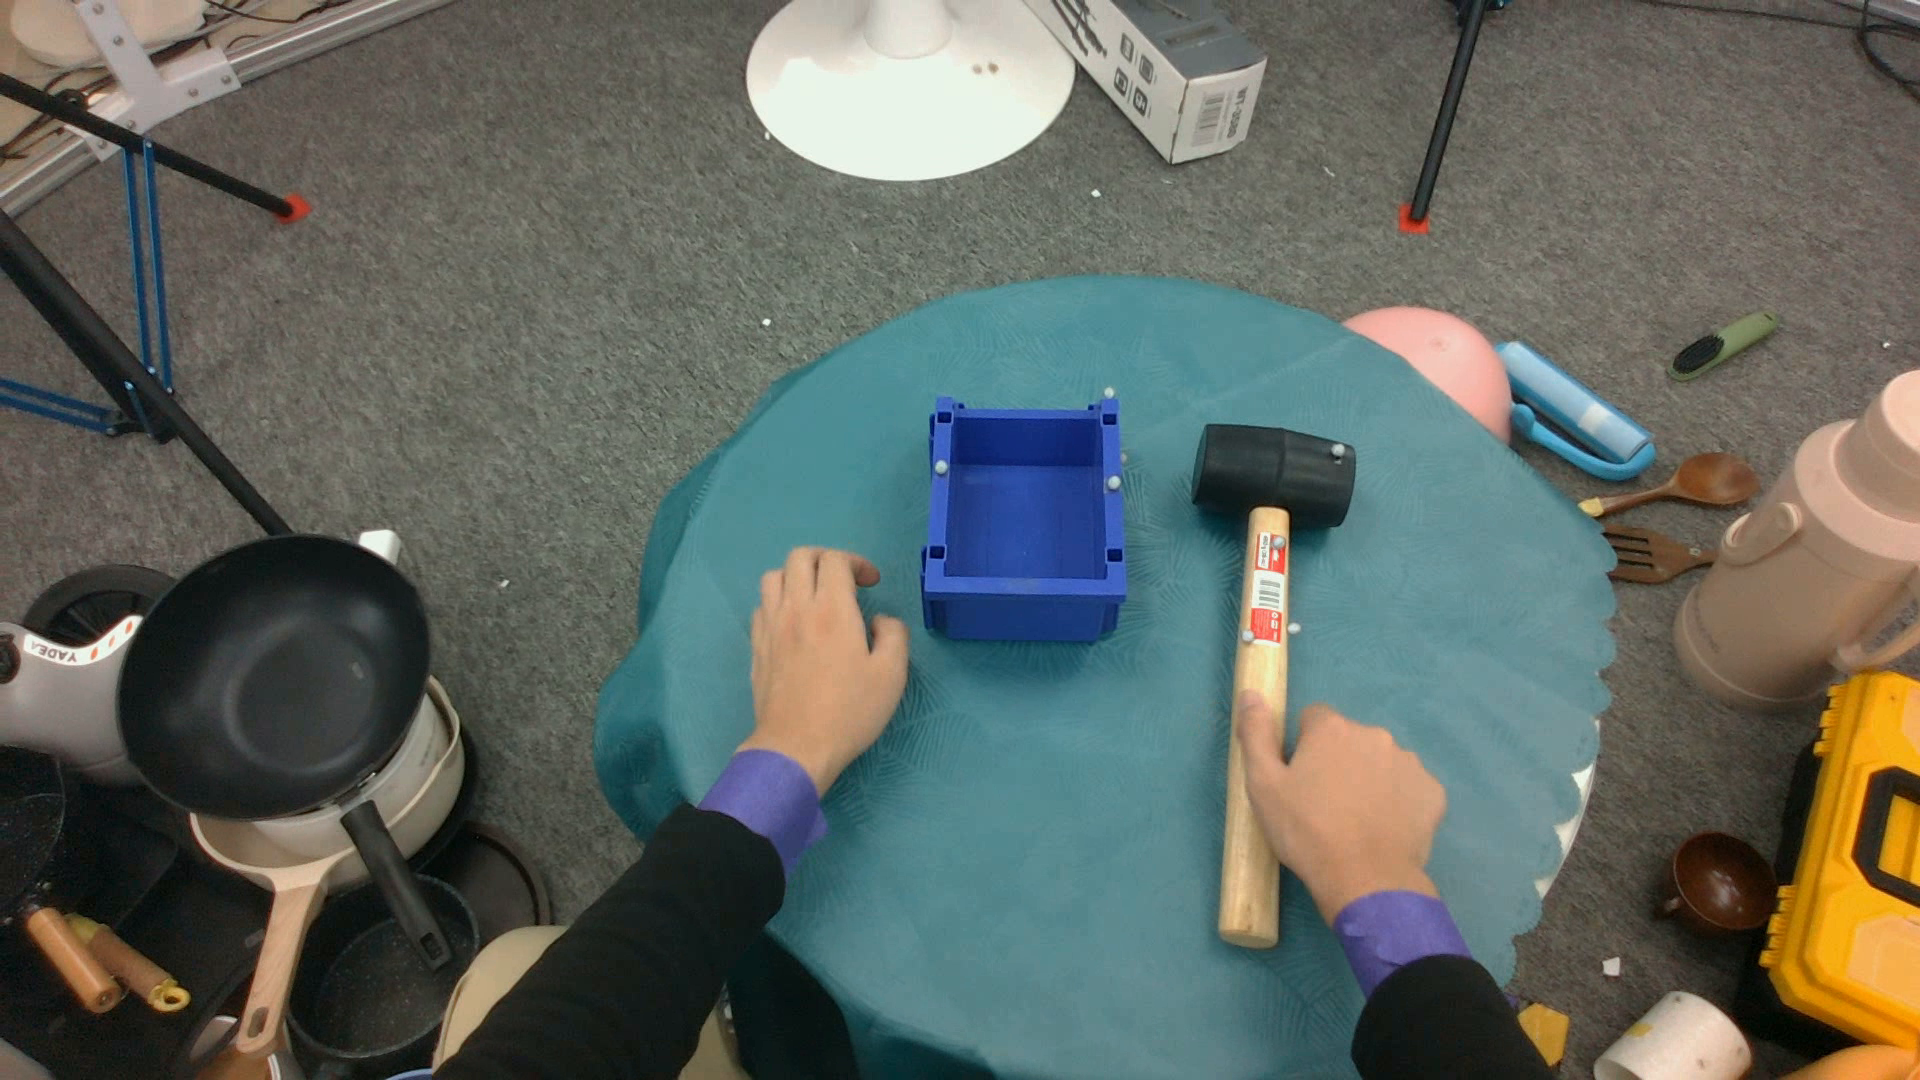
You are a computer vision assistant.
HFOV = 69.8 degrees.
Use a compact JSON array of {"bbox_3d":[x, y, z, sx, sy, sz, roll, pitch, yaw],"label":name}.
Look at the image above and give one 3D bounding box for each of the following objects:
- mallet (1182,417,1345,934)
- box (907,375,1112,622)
[{"bbox_3d":[0.178,0.066,0.838,0.102,0.064,0.340,7,57,6],"label":"mallet"},{"bbox_3d":[0.033,-0.035,0.896,0.124,0.081,0.180,2,59,2],"label":"box"}]
